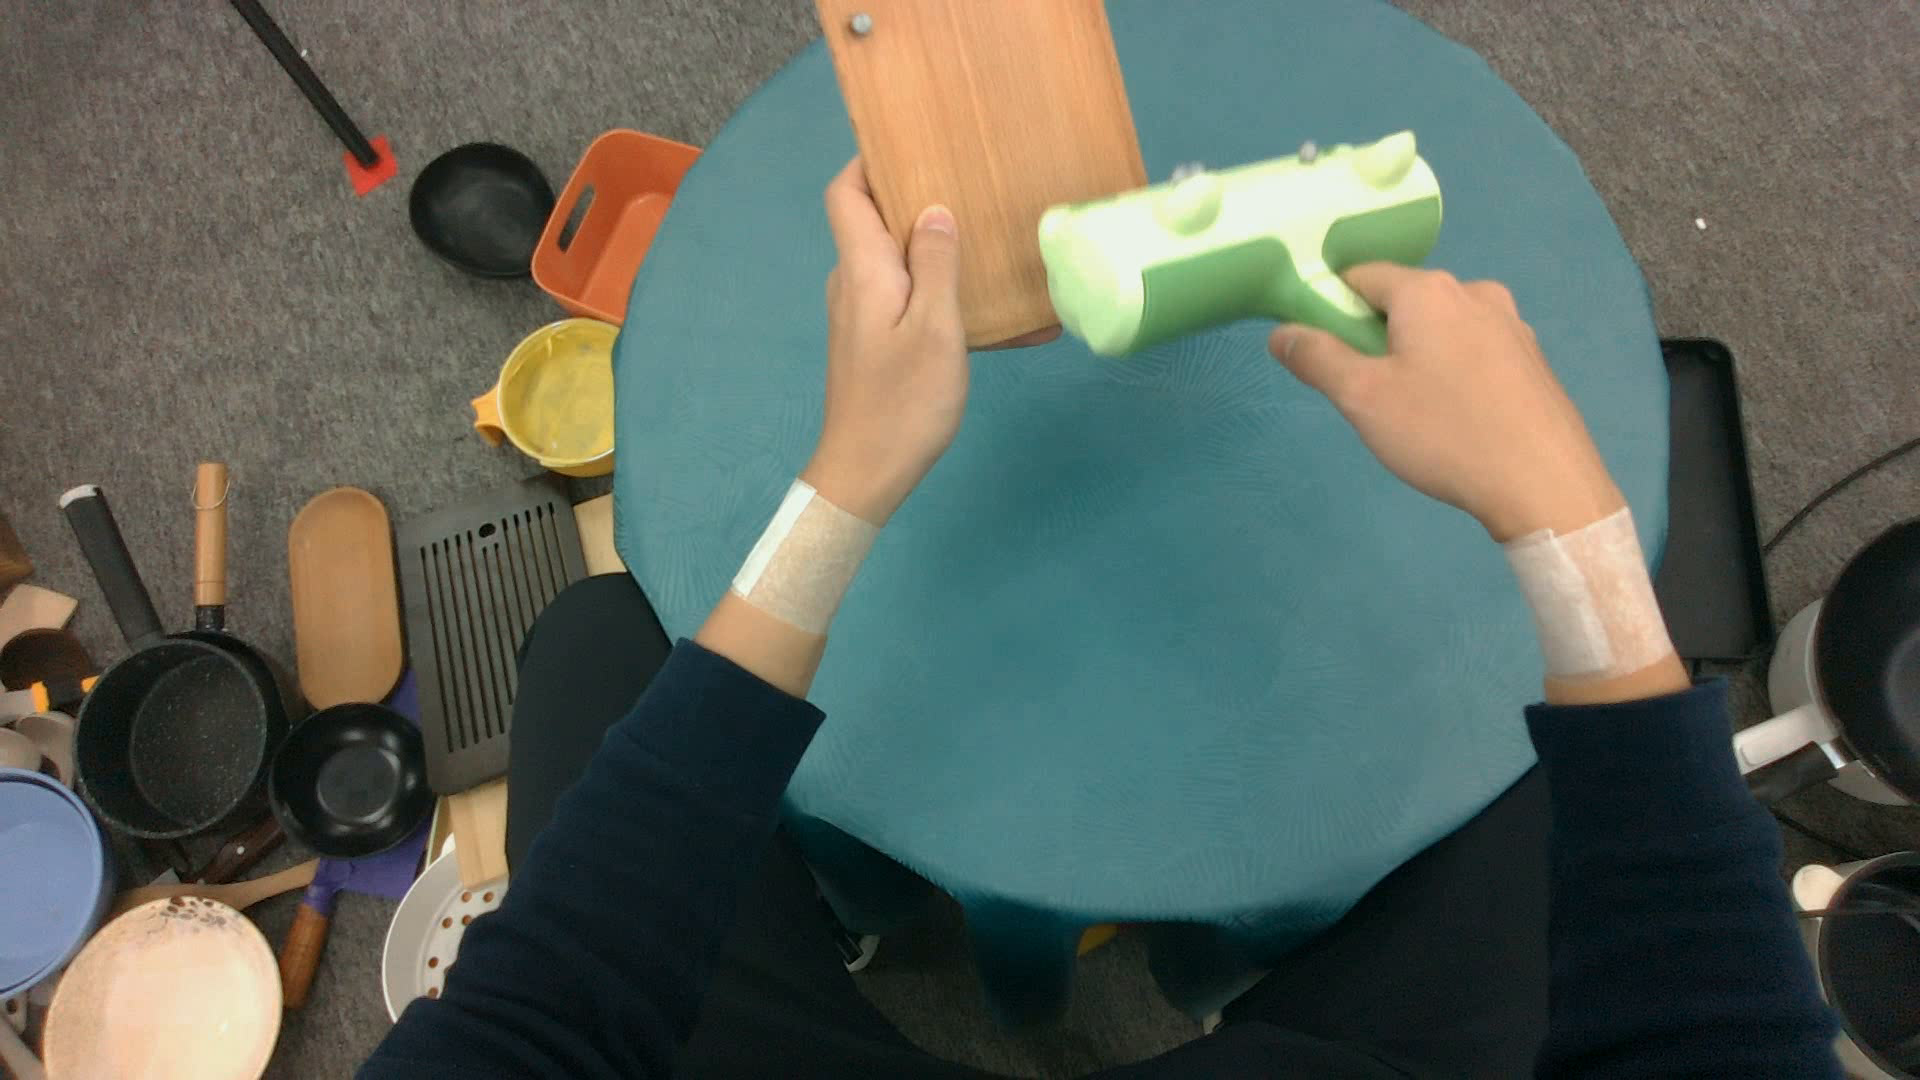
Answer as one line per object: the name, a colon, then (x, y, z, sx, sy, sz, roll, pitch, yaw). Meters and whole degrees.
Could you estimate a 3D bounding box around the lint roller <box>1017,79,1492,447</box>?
lint roller: (0.147, -0.118, 0.541, 0.199, 0.082, 0.183, -21, 53, -35)

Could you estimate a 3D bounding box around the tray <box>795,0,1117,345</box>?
tray: (-0.004, -0.212, 0.572, 0.131, 0.023, 0.250, -21, 102, -23)
